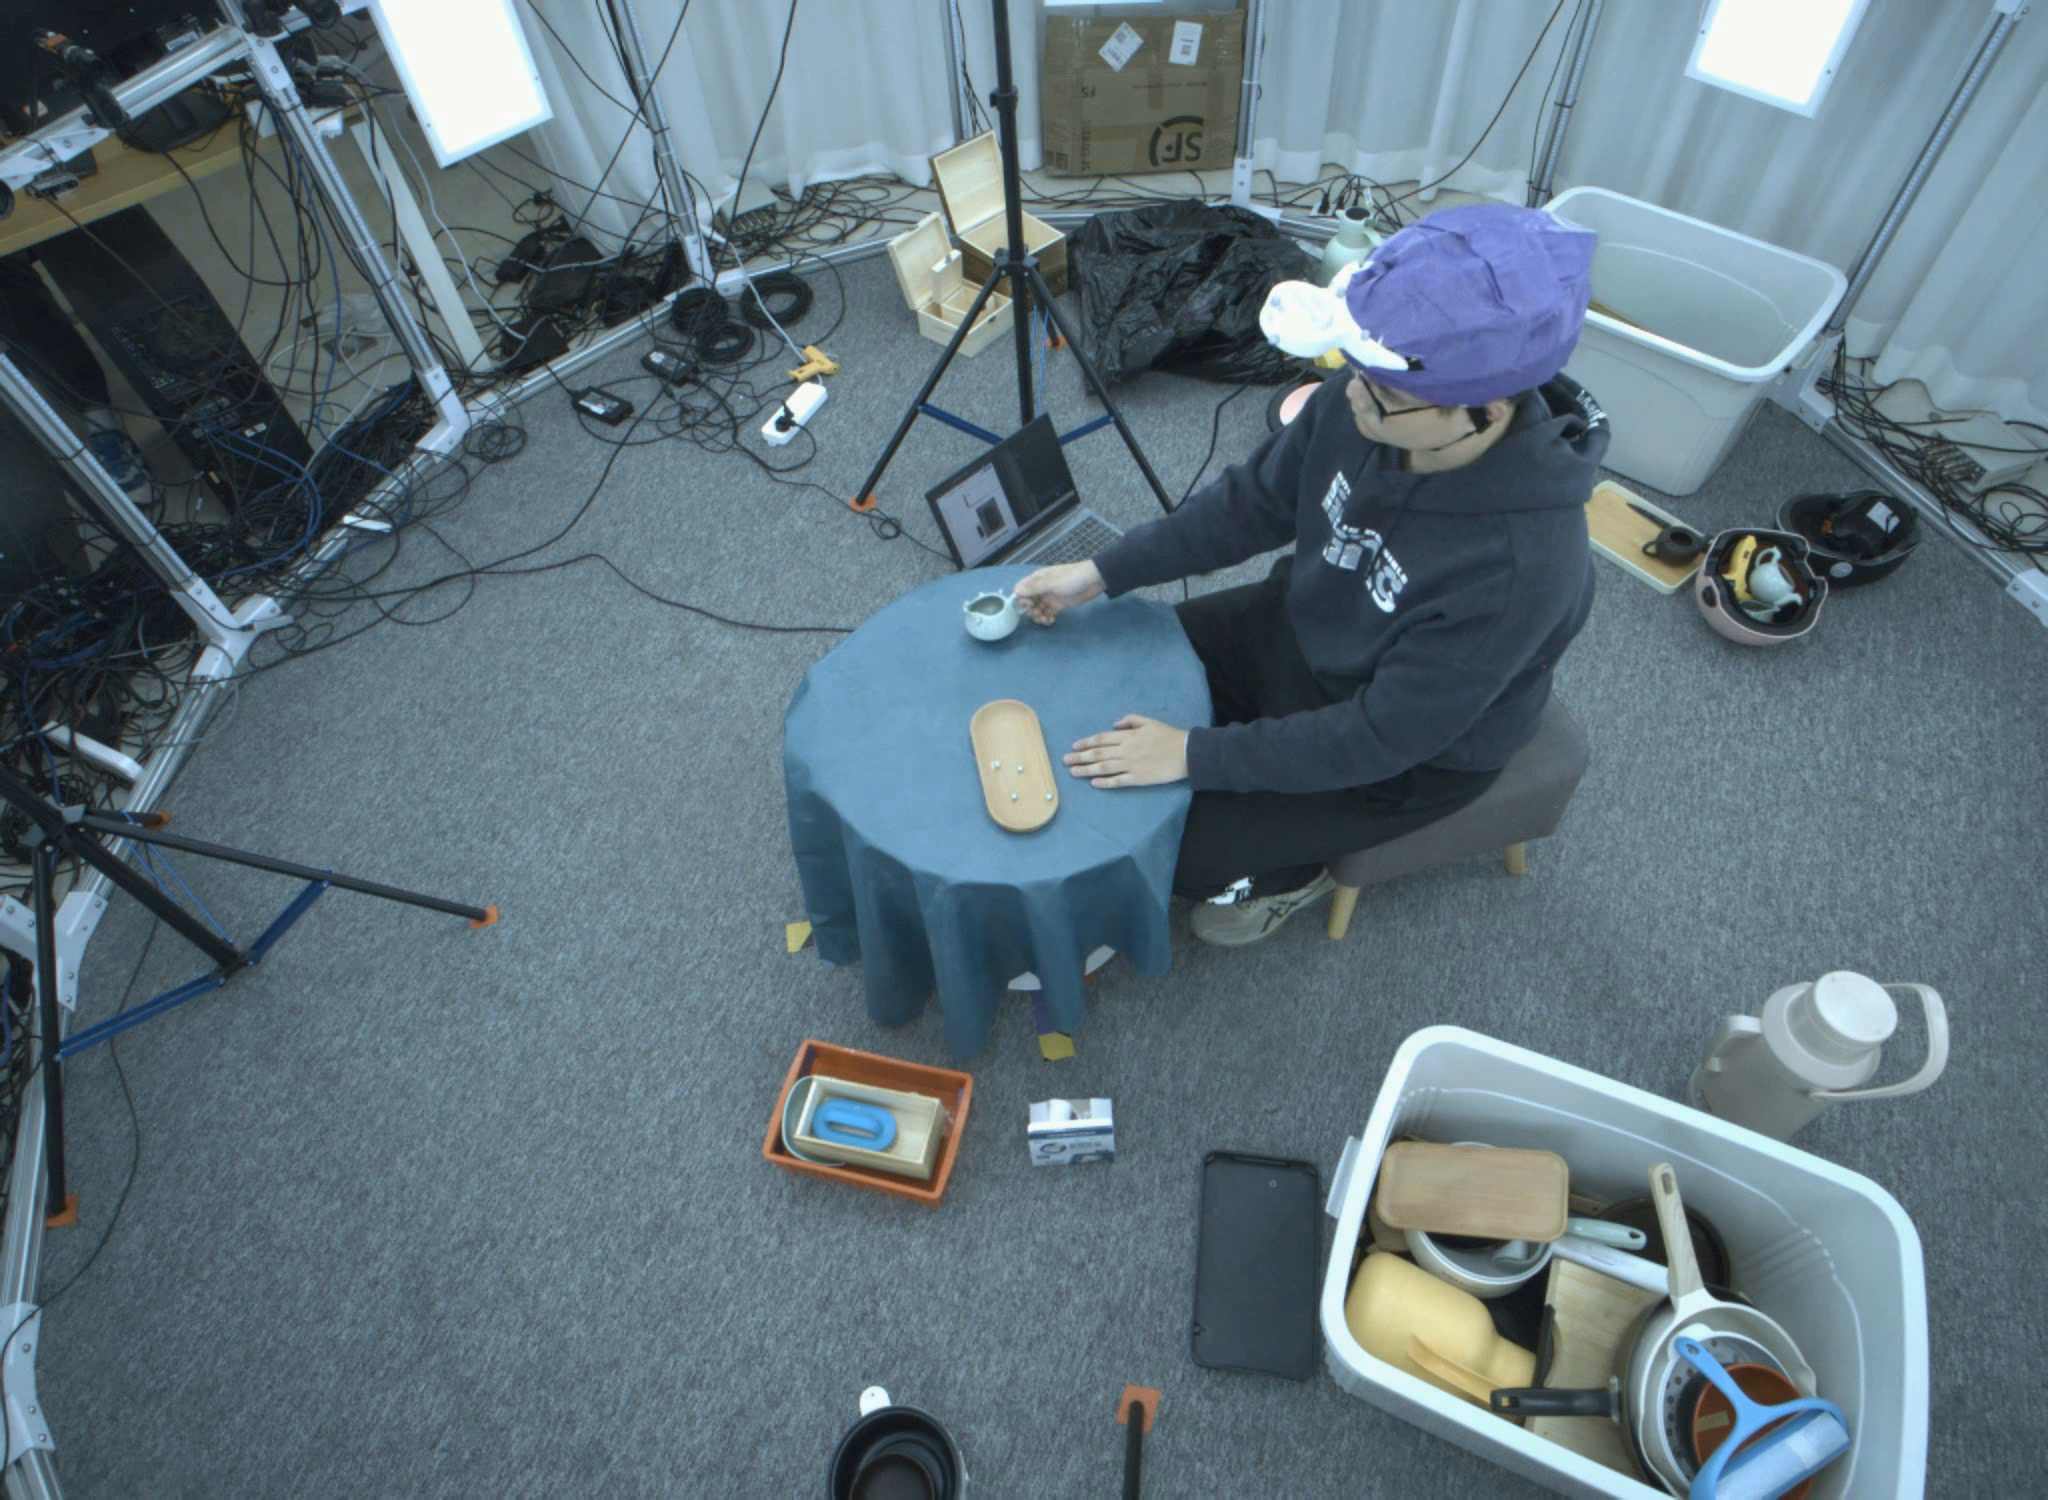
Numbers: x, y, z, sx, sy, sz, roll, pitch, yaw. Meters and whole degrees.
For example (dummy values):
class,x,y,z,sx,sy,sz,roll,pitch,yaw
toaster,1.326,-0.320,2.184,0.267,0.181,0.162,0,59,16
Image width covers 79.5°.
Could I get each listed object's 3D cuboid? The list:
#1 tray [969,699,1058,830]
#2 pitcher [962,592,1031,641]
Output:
class,x,y,z,sx,sy,sz,roll,pitch,yaw
tray,-0.016,0.018,1.766,0.102,0.020,0.227,-10,53,-7
pitcher,-0.042,-0.212,1.899,0.108,0.061,0.084,-16,55,-6
